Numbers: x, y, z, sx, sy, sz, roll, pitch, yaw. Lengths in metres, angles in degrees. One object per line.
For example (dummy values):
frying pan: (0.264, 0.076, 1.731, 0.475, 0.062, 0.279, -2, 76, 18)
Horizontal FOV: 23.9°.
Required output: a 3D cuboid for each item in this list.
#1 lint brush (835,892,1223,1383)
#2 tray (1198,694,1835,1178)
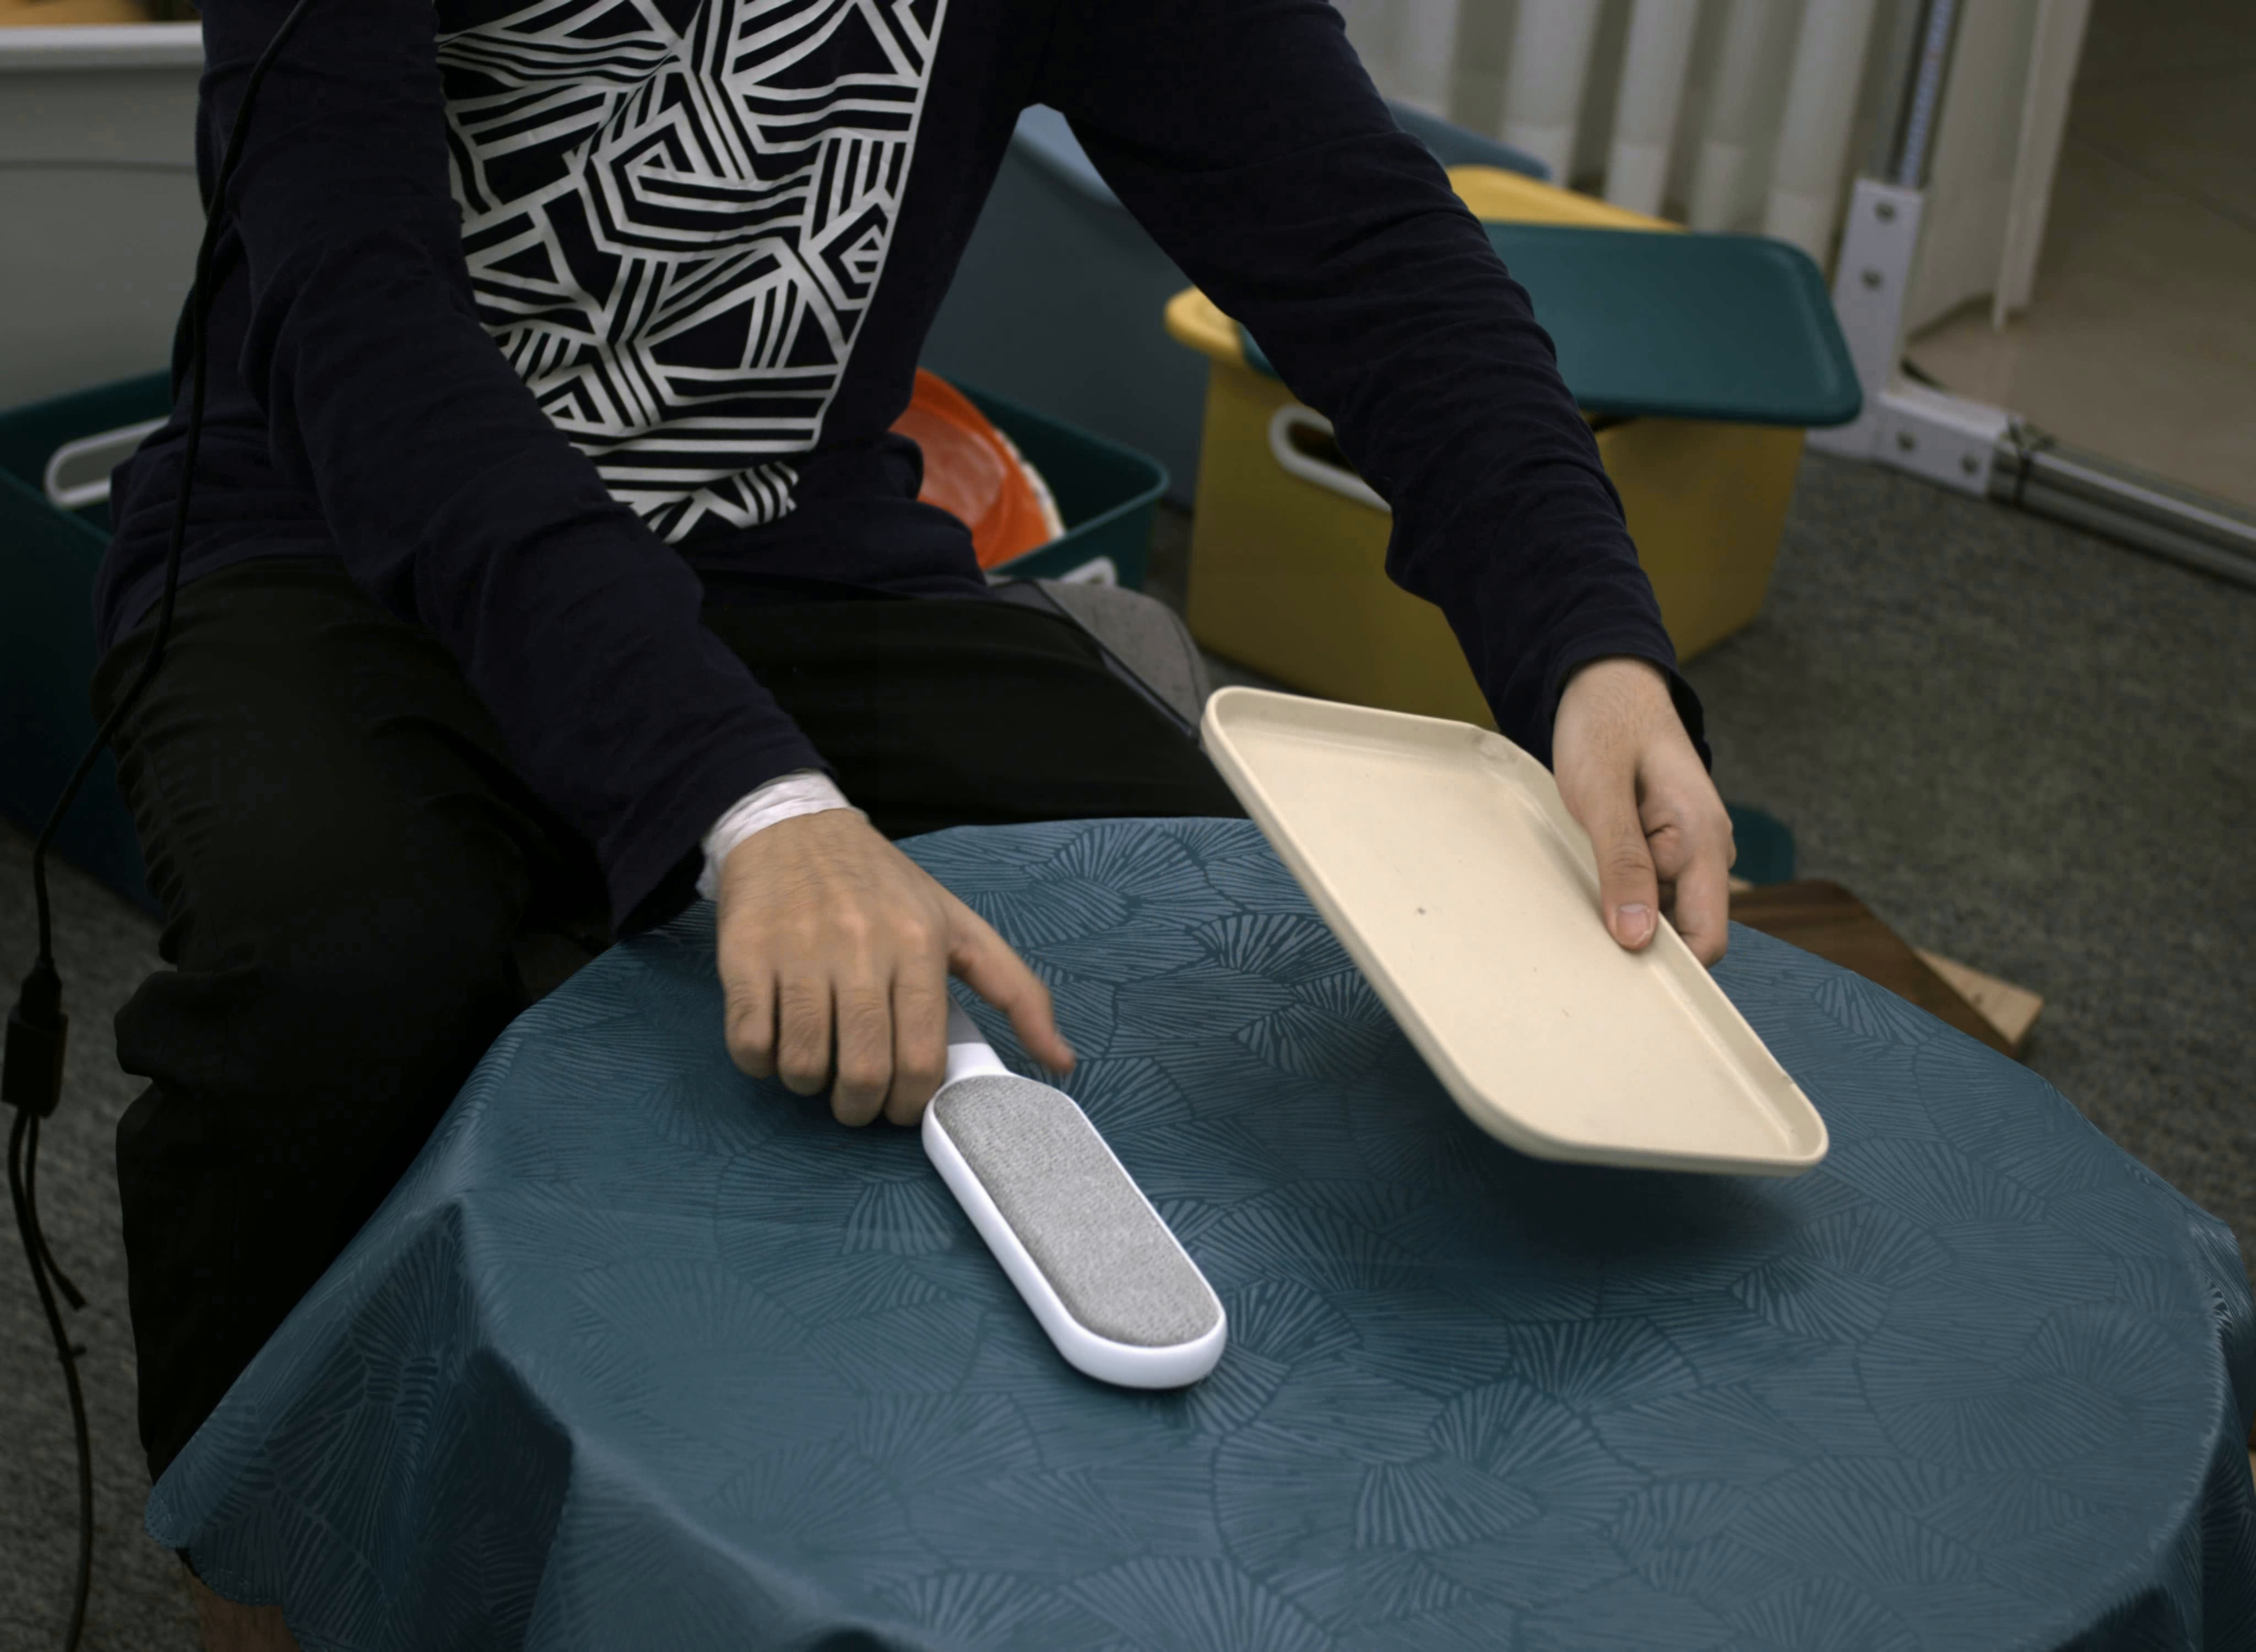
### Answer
lint brush: (-0.041, 0.101, 1.811, 0.060, 0.021, 0.312, -10, 31, -18)
tray: (0.131, 0.039, 1.846, 0.170, 0.017, 0.242, 6, 36, -39)
